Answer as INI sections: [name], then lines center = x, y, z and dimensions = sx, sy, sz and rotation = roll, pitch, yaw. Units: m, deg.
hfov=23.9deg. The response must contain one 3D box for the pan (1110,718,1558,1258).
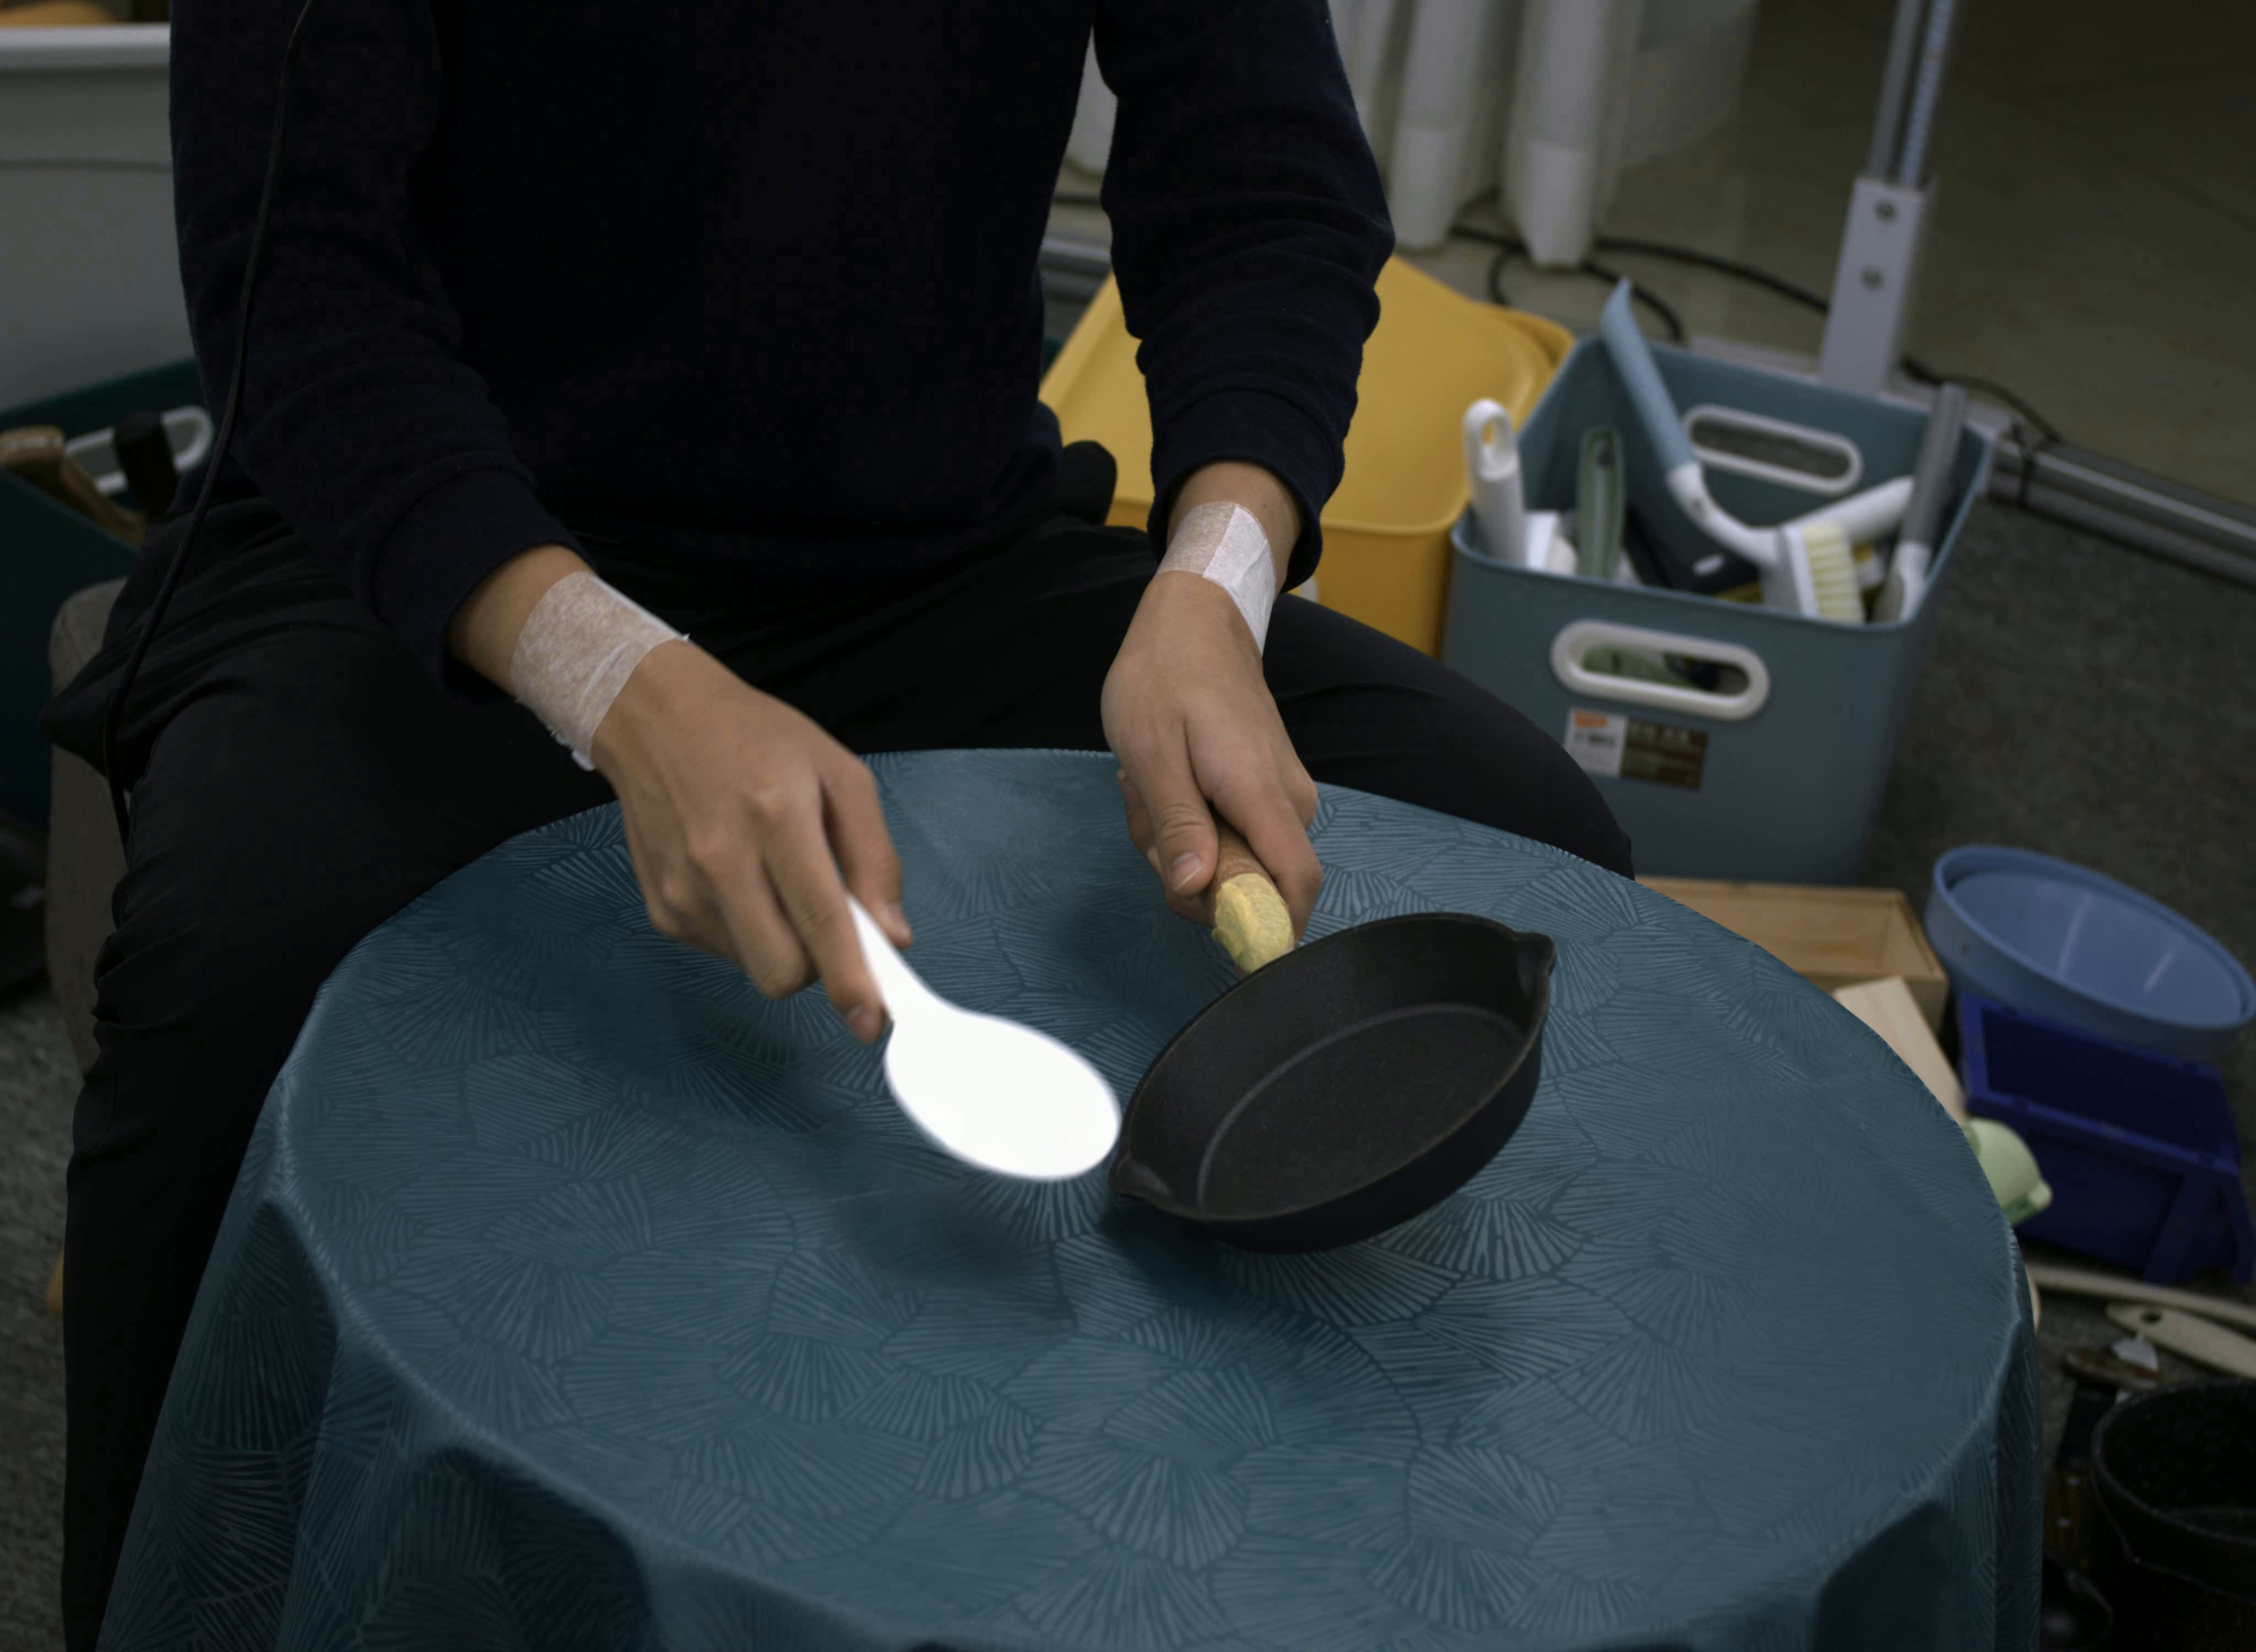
[pan]
center = 0.055, 0.049, 1.856
dimensions = 0.168, 0.049, 0.327
rotation = -28, 29, 2

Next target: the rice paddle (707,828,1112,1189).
[rice paddle]
center = -0.076, 0.063, 1.790
dimensions = 0.068, 0.029, 0.207
rotation = -17, 39, -30
